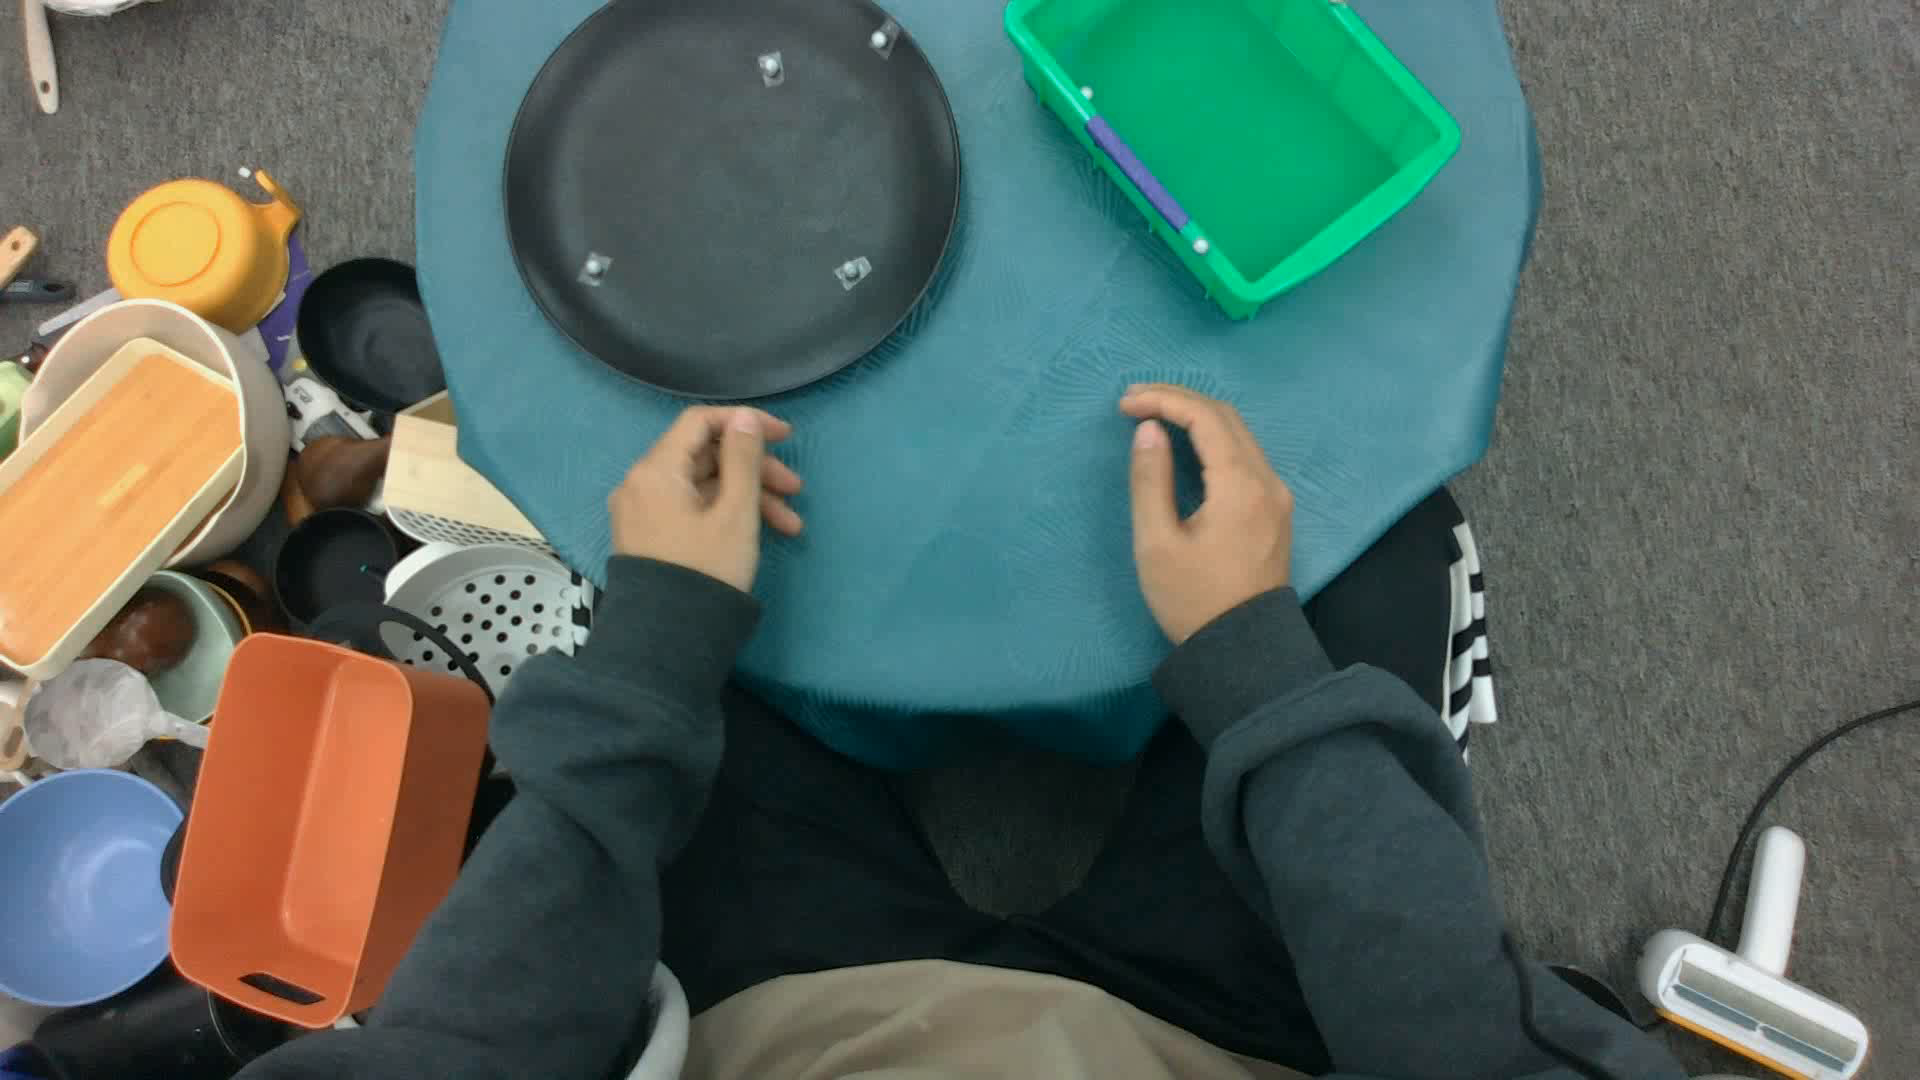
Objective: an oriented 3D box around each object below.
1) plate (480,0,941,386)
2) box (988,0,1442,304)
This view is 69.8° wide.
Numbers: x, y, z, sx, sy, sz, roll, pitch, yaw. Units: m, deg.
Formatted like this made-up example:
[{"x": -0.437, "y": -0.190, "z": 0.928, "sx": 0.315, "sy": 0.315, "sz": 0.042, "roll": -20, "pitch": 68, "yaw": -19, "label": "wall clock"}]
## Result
[{"x": -0.131, "y": -0.197, "z": 0.733, "sx": 0.244, "sy": 0.023, "sz": 0.244, "roll": 0, "pitch": 81, "yaw": 2, "label": "plate"}, {"x": 0.126, "y": -0.232, "z": 0.709, "sx": 0.139, "sy": 0.065, "sz": 0.210, "roll": -40, "pitch": 84, "yaw": -2, "label": "box"}]
